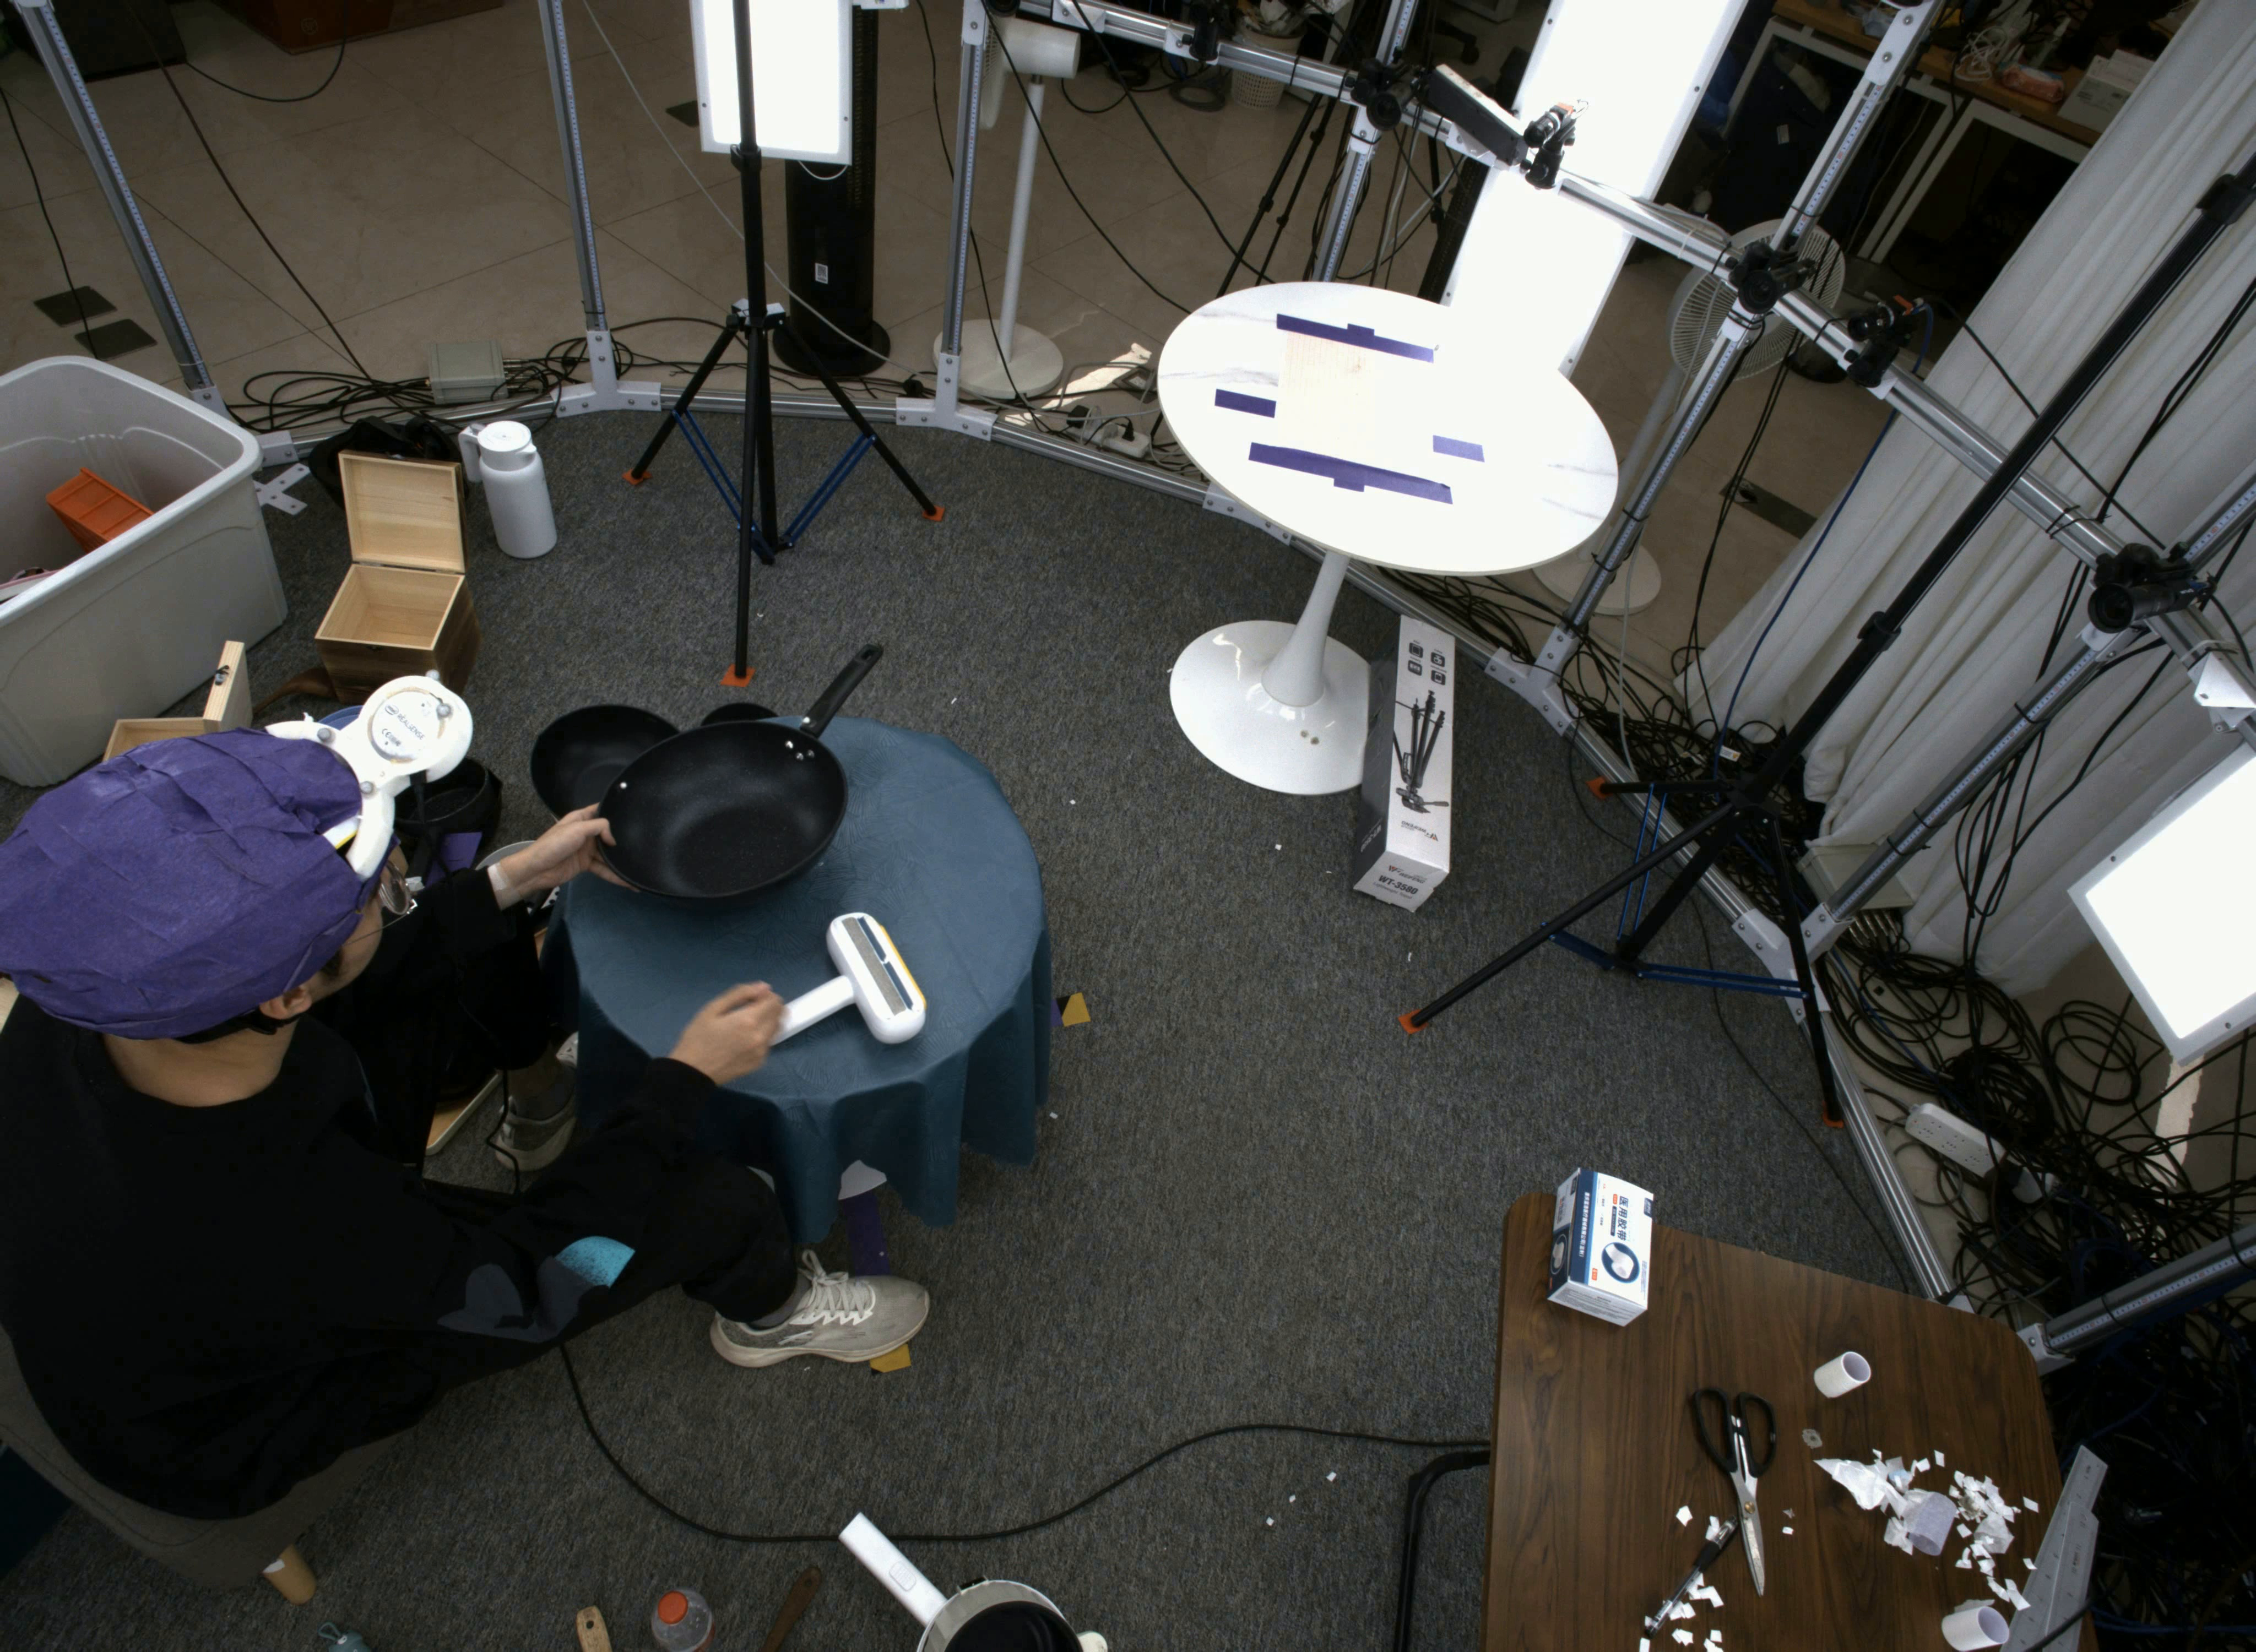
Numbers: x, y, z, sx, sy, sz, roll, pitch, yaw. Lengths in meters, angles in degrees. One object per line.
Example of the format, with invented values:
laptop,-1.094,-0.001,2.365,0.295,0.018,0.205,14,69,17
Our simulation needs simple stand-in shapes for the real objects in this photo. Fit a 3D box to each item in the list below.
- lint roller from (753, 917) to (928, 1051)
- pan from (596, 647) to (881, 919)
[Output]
lint roller,-0.355,0.206,1.552,0.193,0.076,0.187,-17,54,-23
pan,-0.464,-0.055,1.661,0.302,0.115,0.475,25,51,16
